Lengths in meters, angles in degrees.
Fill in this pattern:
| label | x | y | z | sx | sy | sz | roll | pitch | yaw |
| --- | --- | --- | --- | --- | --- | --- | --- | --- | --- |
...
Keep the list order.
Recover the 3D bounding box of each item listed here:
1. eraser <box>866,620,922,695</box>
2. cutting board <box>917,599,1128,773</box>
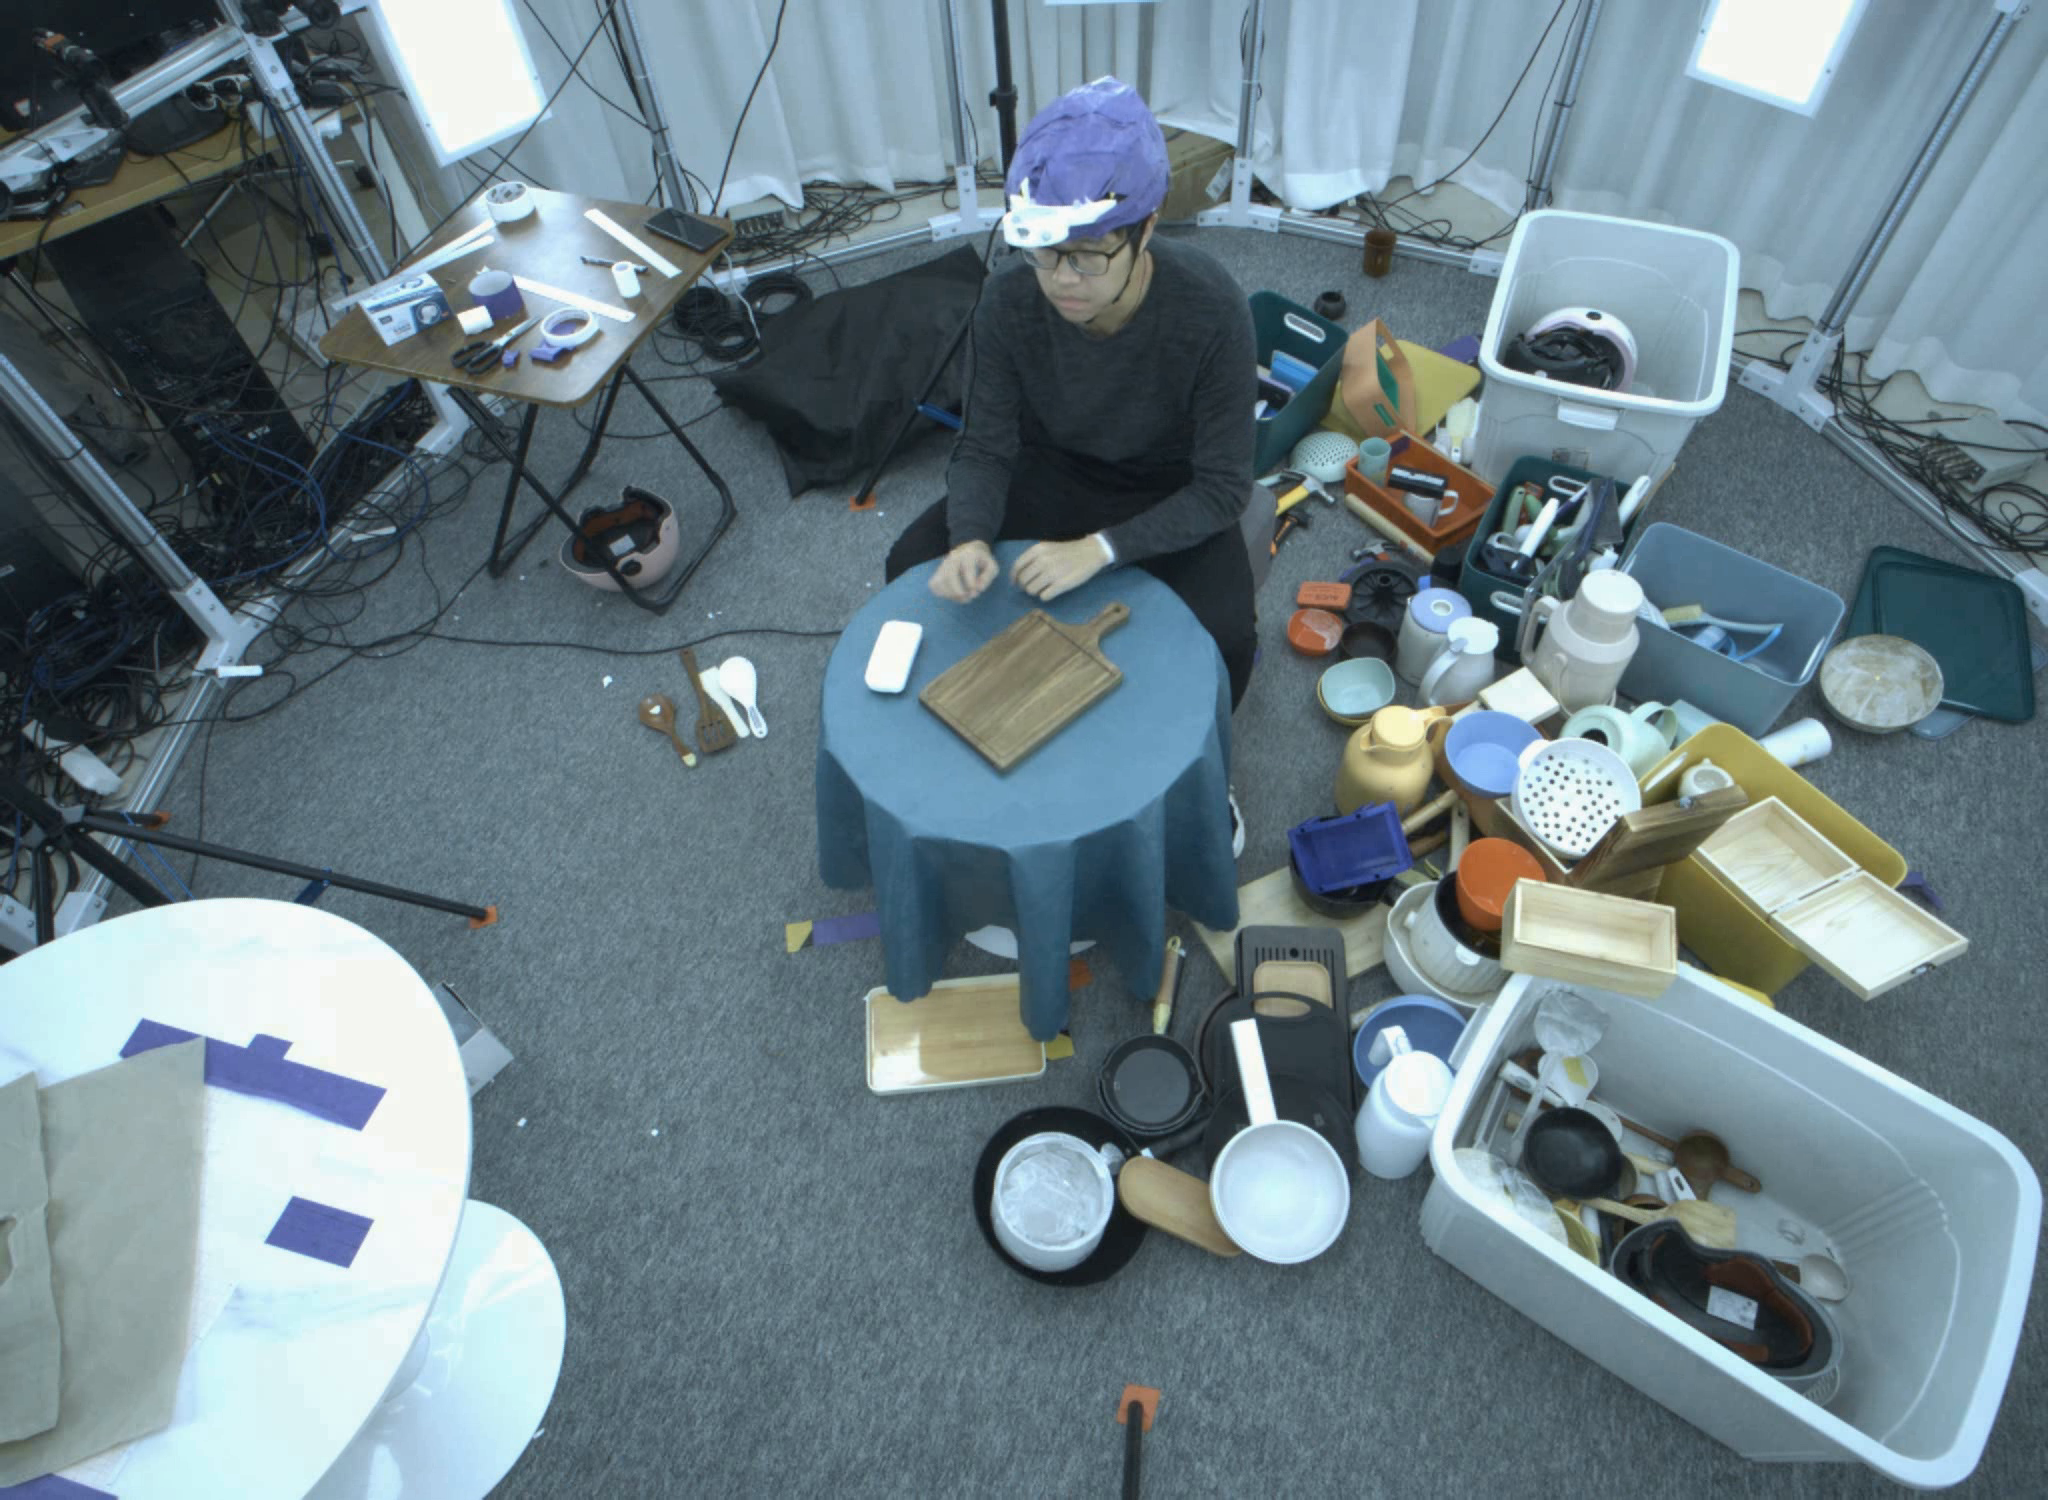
| label | x | y | z | sx | sy | sz | roll | pitch | yaw |
| --- | --- | --- | --- | --- | --- | --- | --- | --- | --- |
| eraser | -0.197 | -0.144 | 1.877 | 0.063 | 0.035 | 0.130 | 9 | 57 | 10 |
| cutting board | 0.030 | -0.124 | 1.861 | 0.354 | 0.023 | 0.197 | -39 | 62 | -23 |
